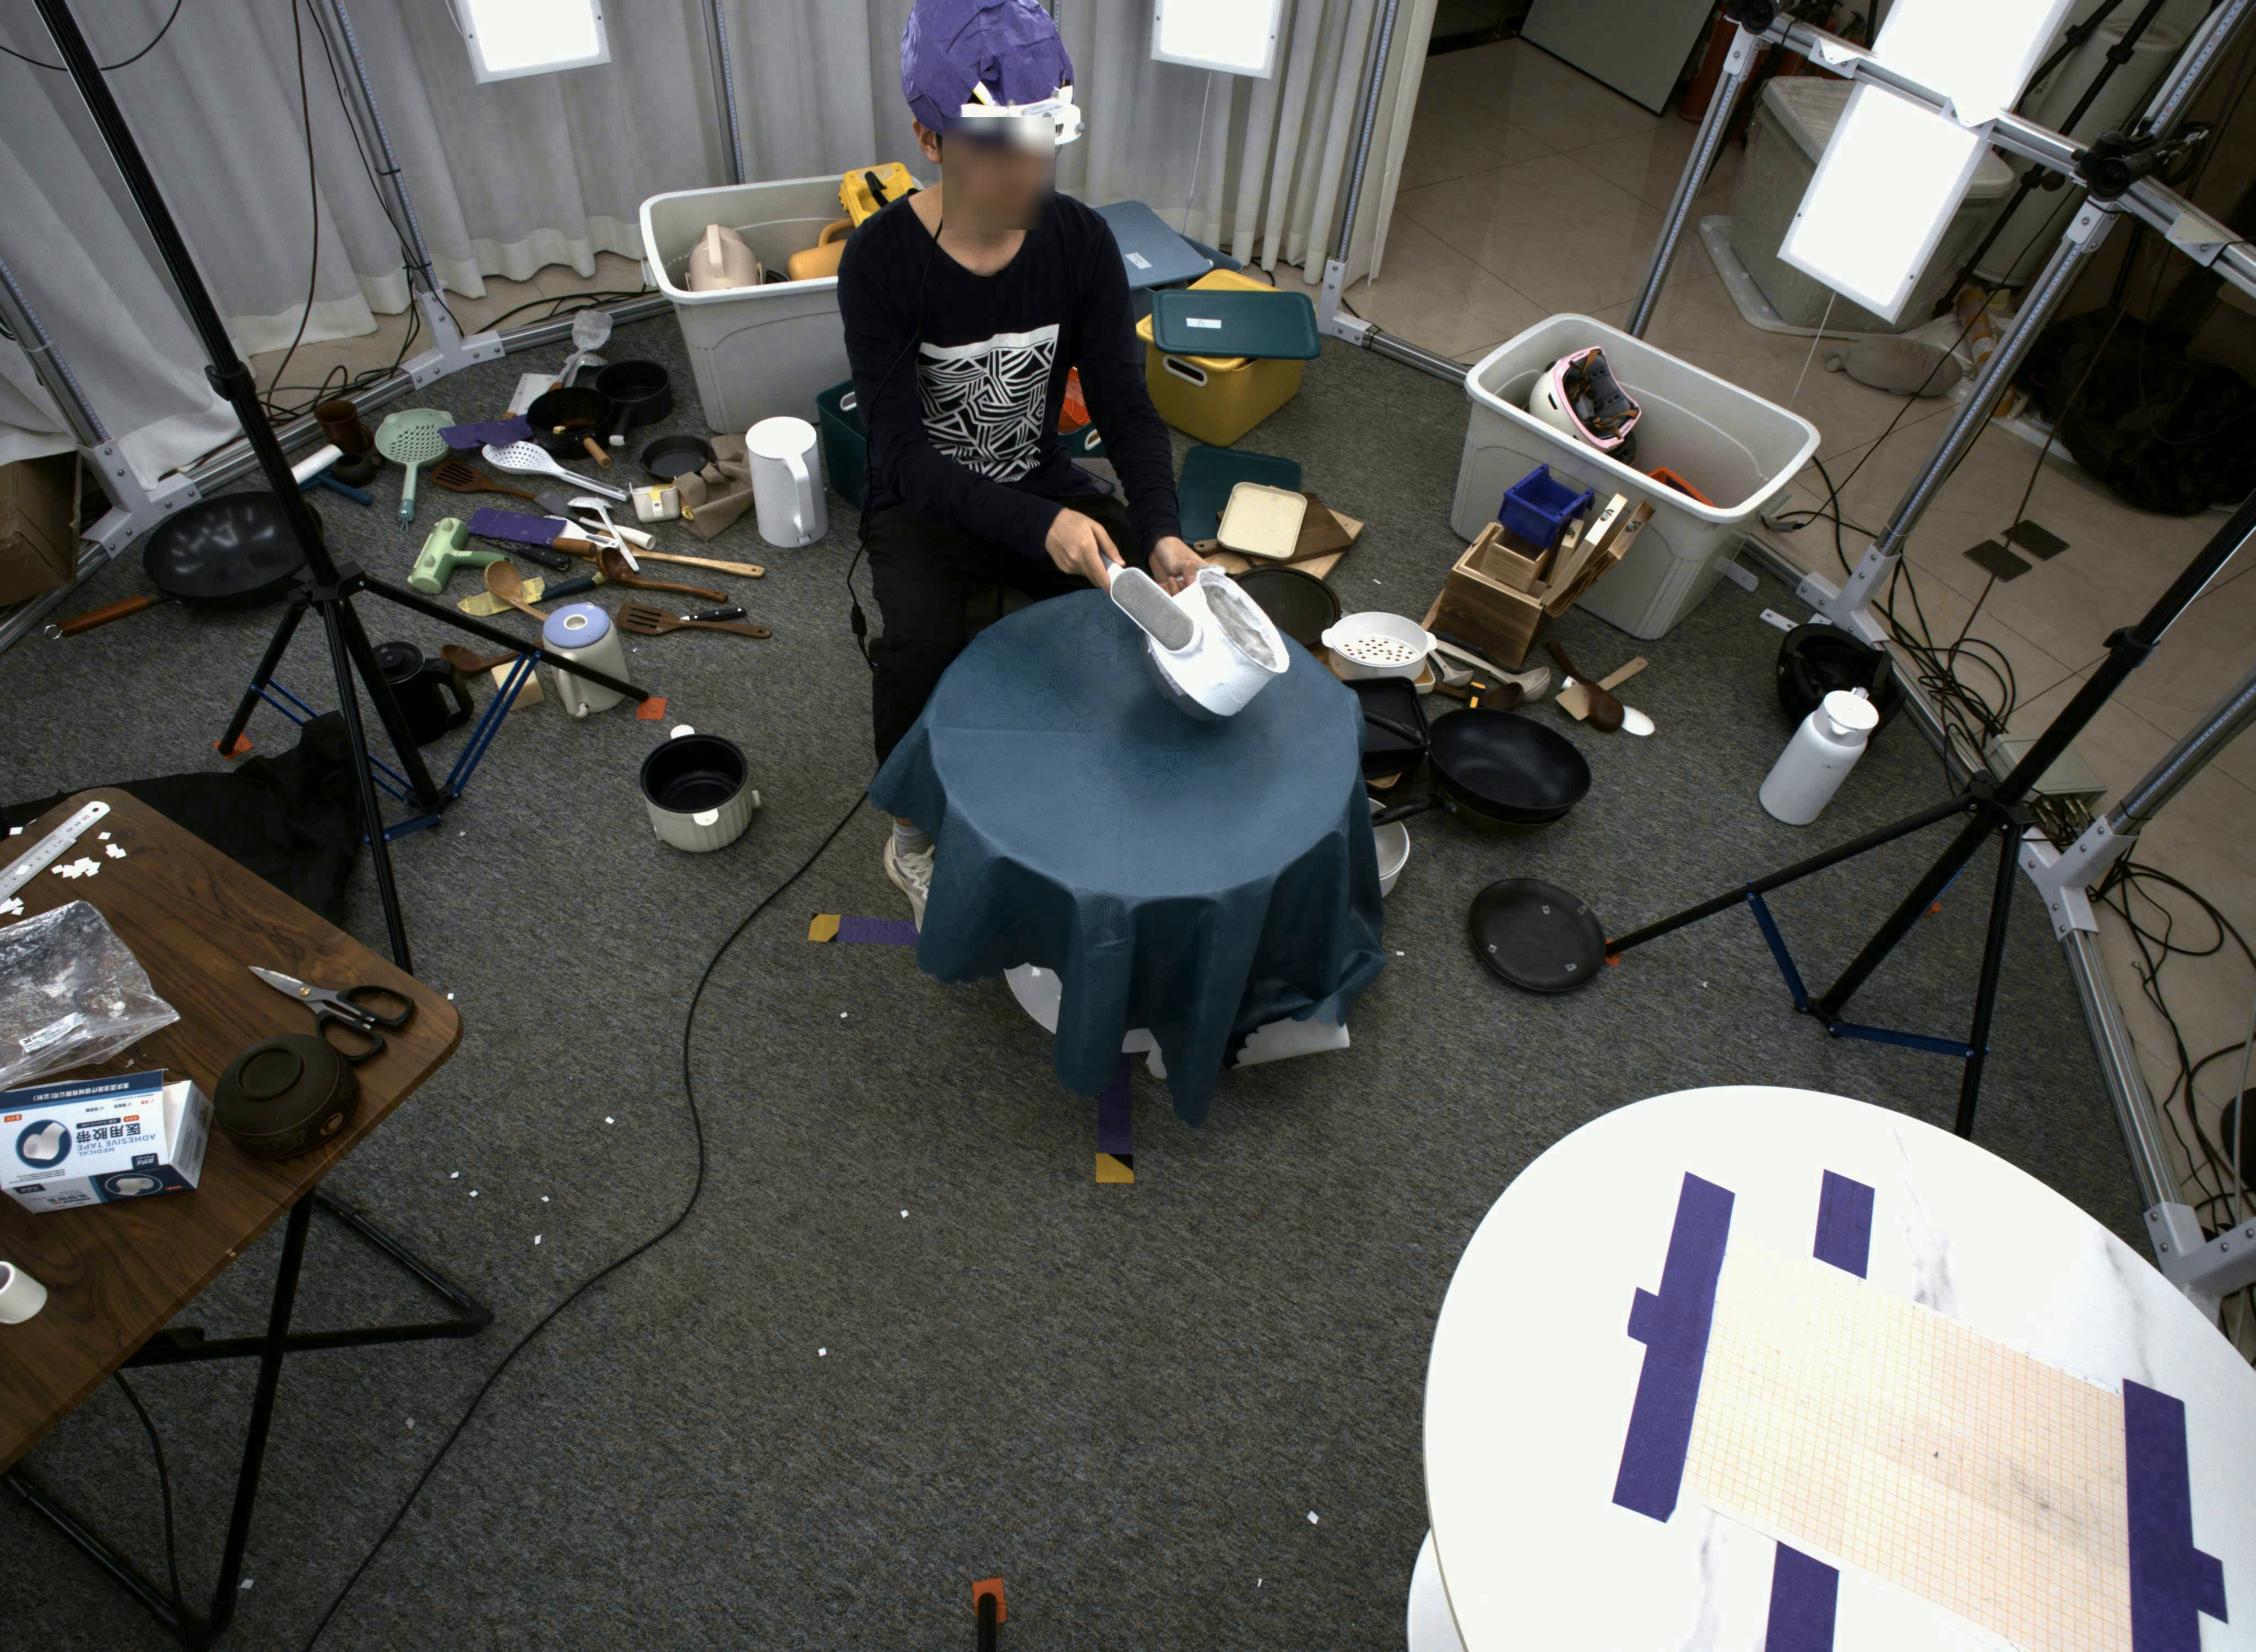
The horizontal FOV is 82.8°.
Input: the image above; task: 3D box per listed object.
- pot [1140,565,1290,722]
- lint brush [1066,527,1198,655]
[{"bbox_3d":[0.107,-0.264,1.763,0.176,0.135,0.239,24,38,-44],"label":"pot"},{"bbox_3d":[0.000,-0.326,1.739,0.020,0.059,0.315,20,23,-48],"label":"lint brush"}]
